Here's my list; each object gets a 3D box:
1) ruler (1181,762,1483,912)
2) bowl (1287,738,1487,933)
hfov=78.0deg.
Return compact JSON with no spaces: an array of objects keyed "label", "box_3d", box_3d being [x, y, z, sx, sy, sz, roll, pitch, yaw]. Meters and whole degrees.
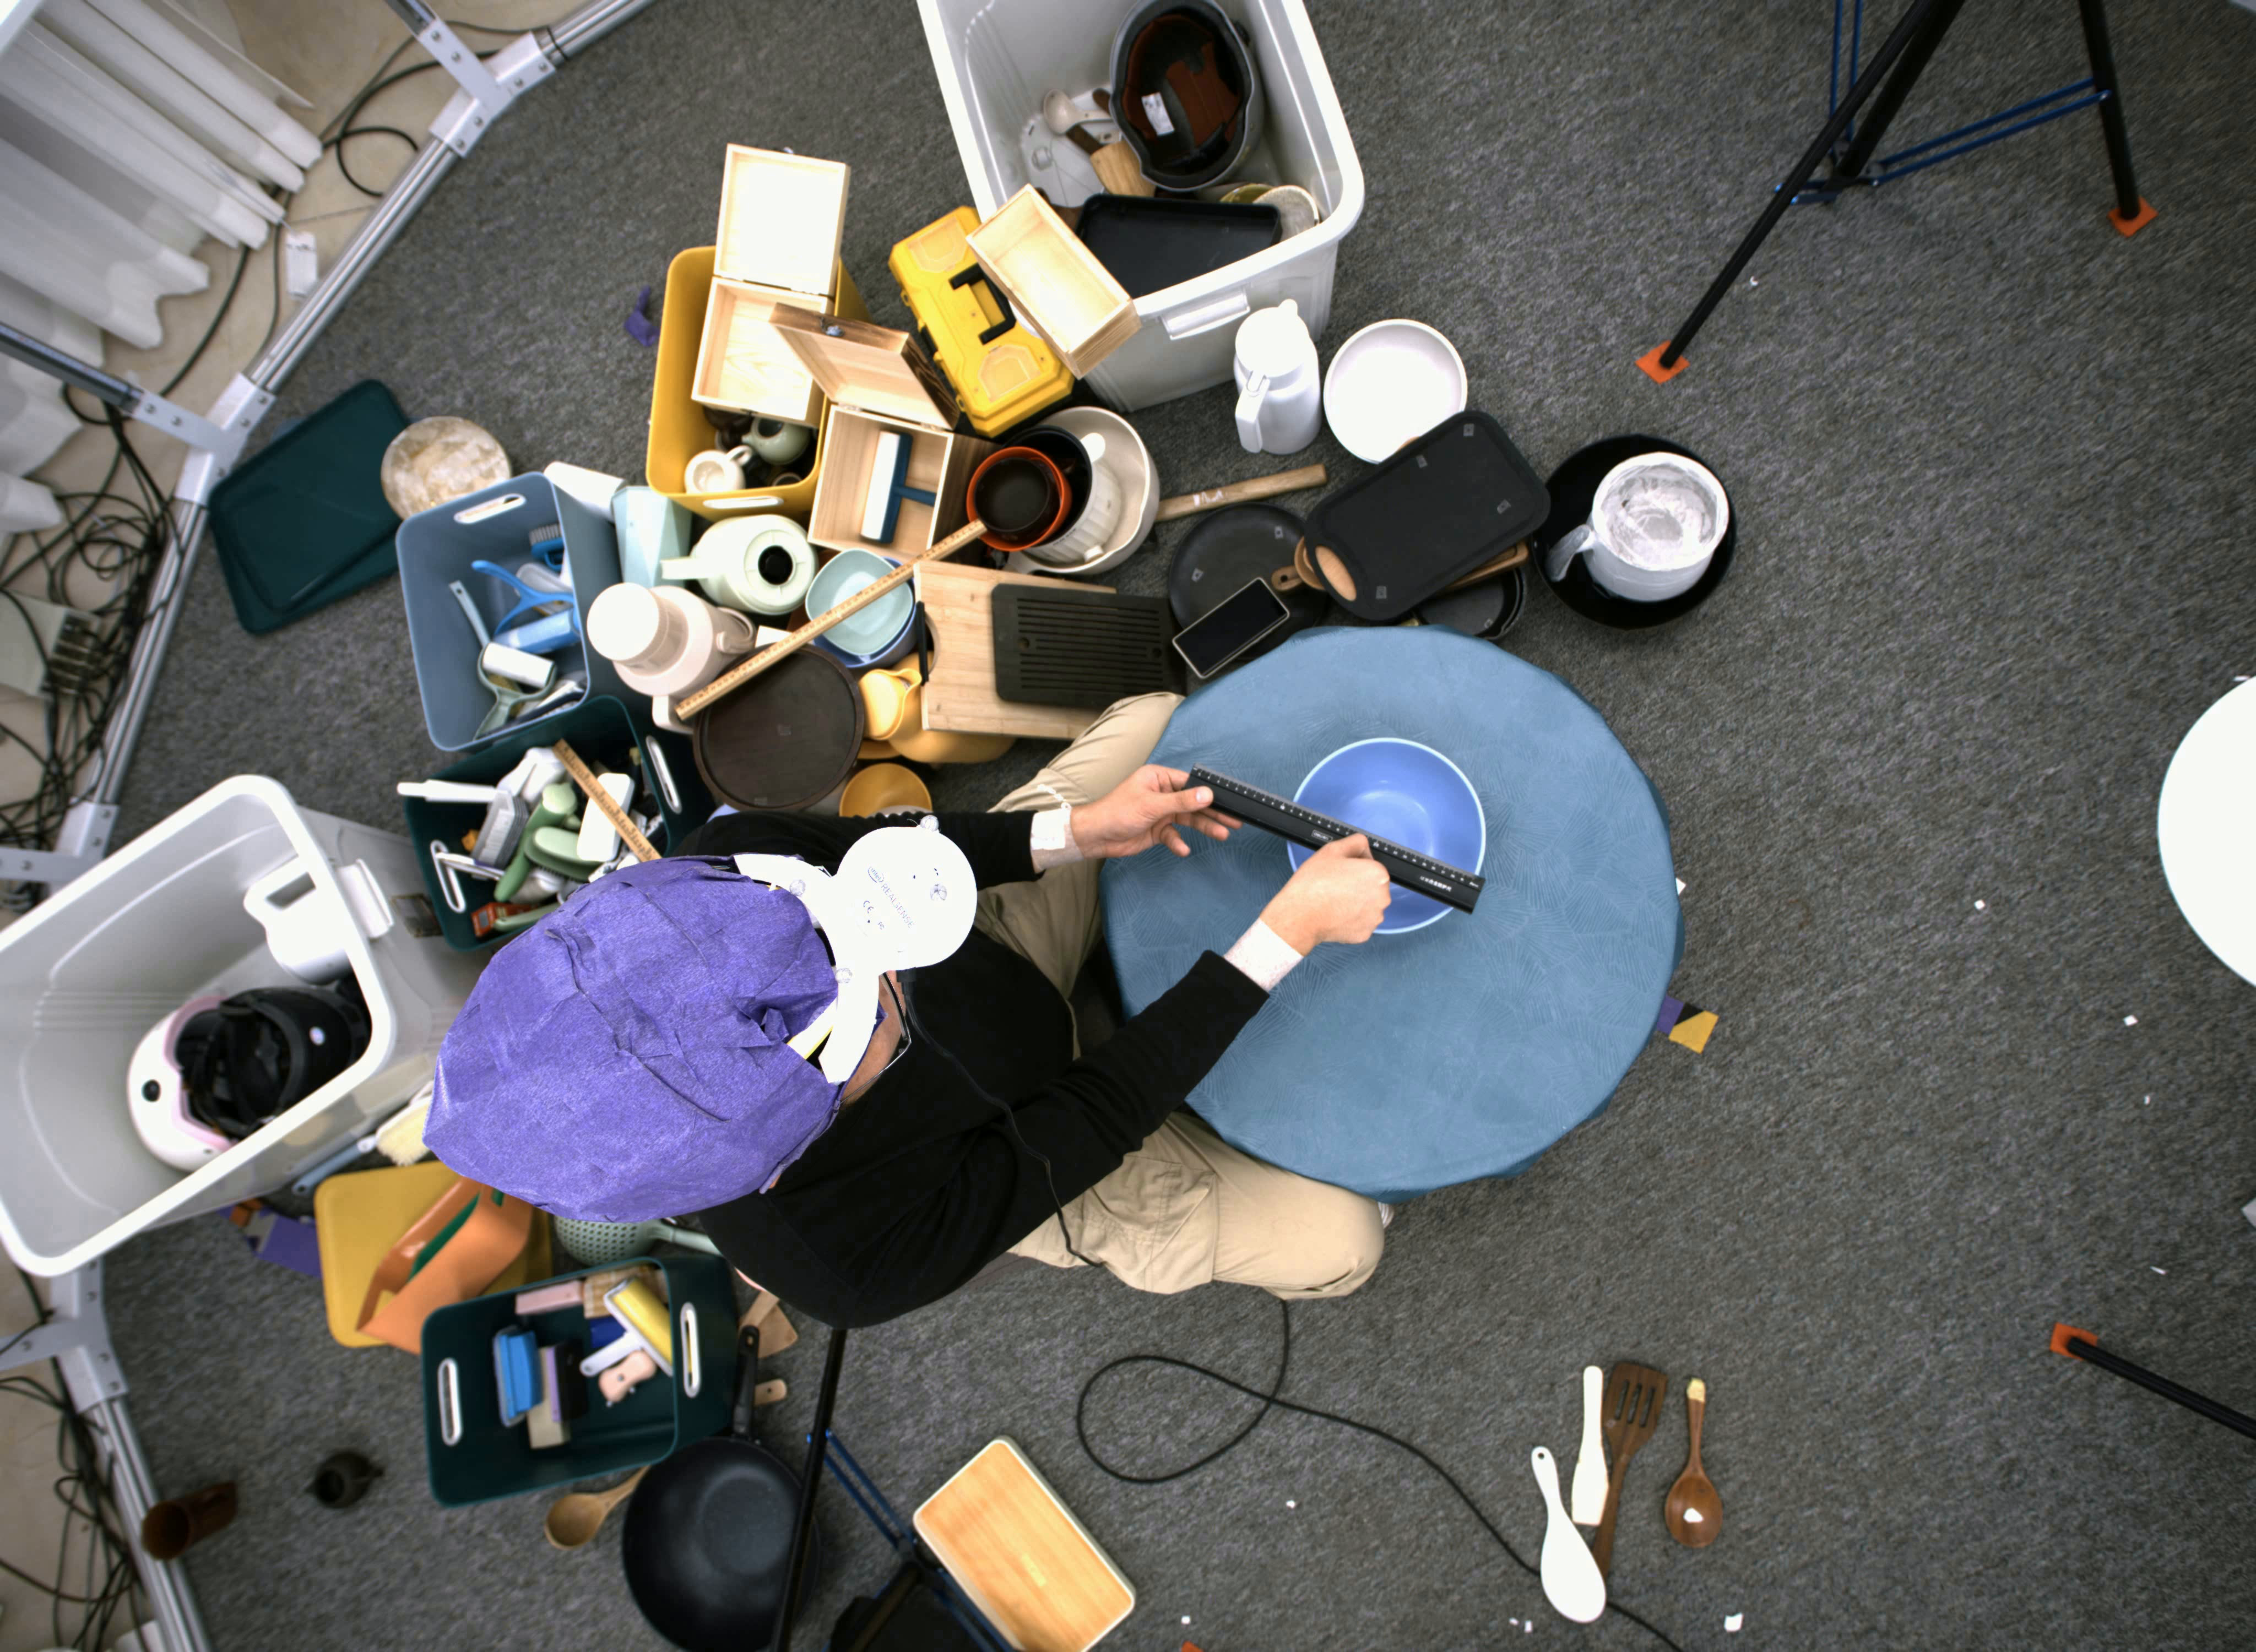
[{"label":"ruler","box_3d":[0.200,0.007,1.368,0.312,0.017,0.039,23,85,12]},{"label":"bowl","box_3d":[0.264,0.013,1.416,0.197,0.095,0.195,-1,86,10]}]
